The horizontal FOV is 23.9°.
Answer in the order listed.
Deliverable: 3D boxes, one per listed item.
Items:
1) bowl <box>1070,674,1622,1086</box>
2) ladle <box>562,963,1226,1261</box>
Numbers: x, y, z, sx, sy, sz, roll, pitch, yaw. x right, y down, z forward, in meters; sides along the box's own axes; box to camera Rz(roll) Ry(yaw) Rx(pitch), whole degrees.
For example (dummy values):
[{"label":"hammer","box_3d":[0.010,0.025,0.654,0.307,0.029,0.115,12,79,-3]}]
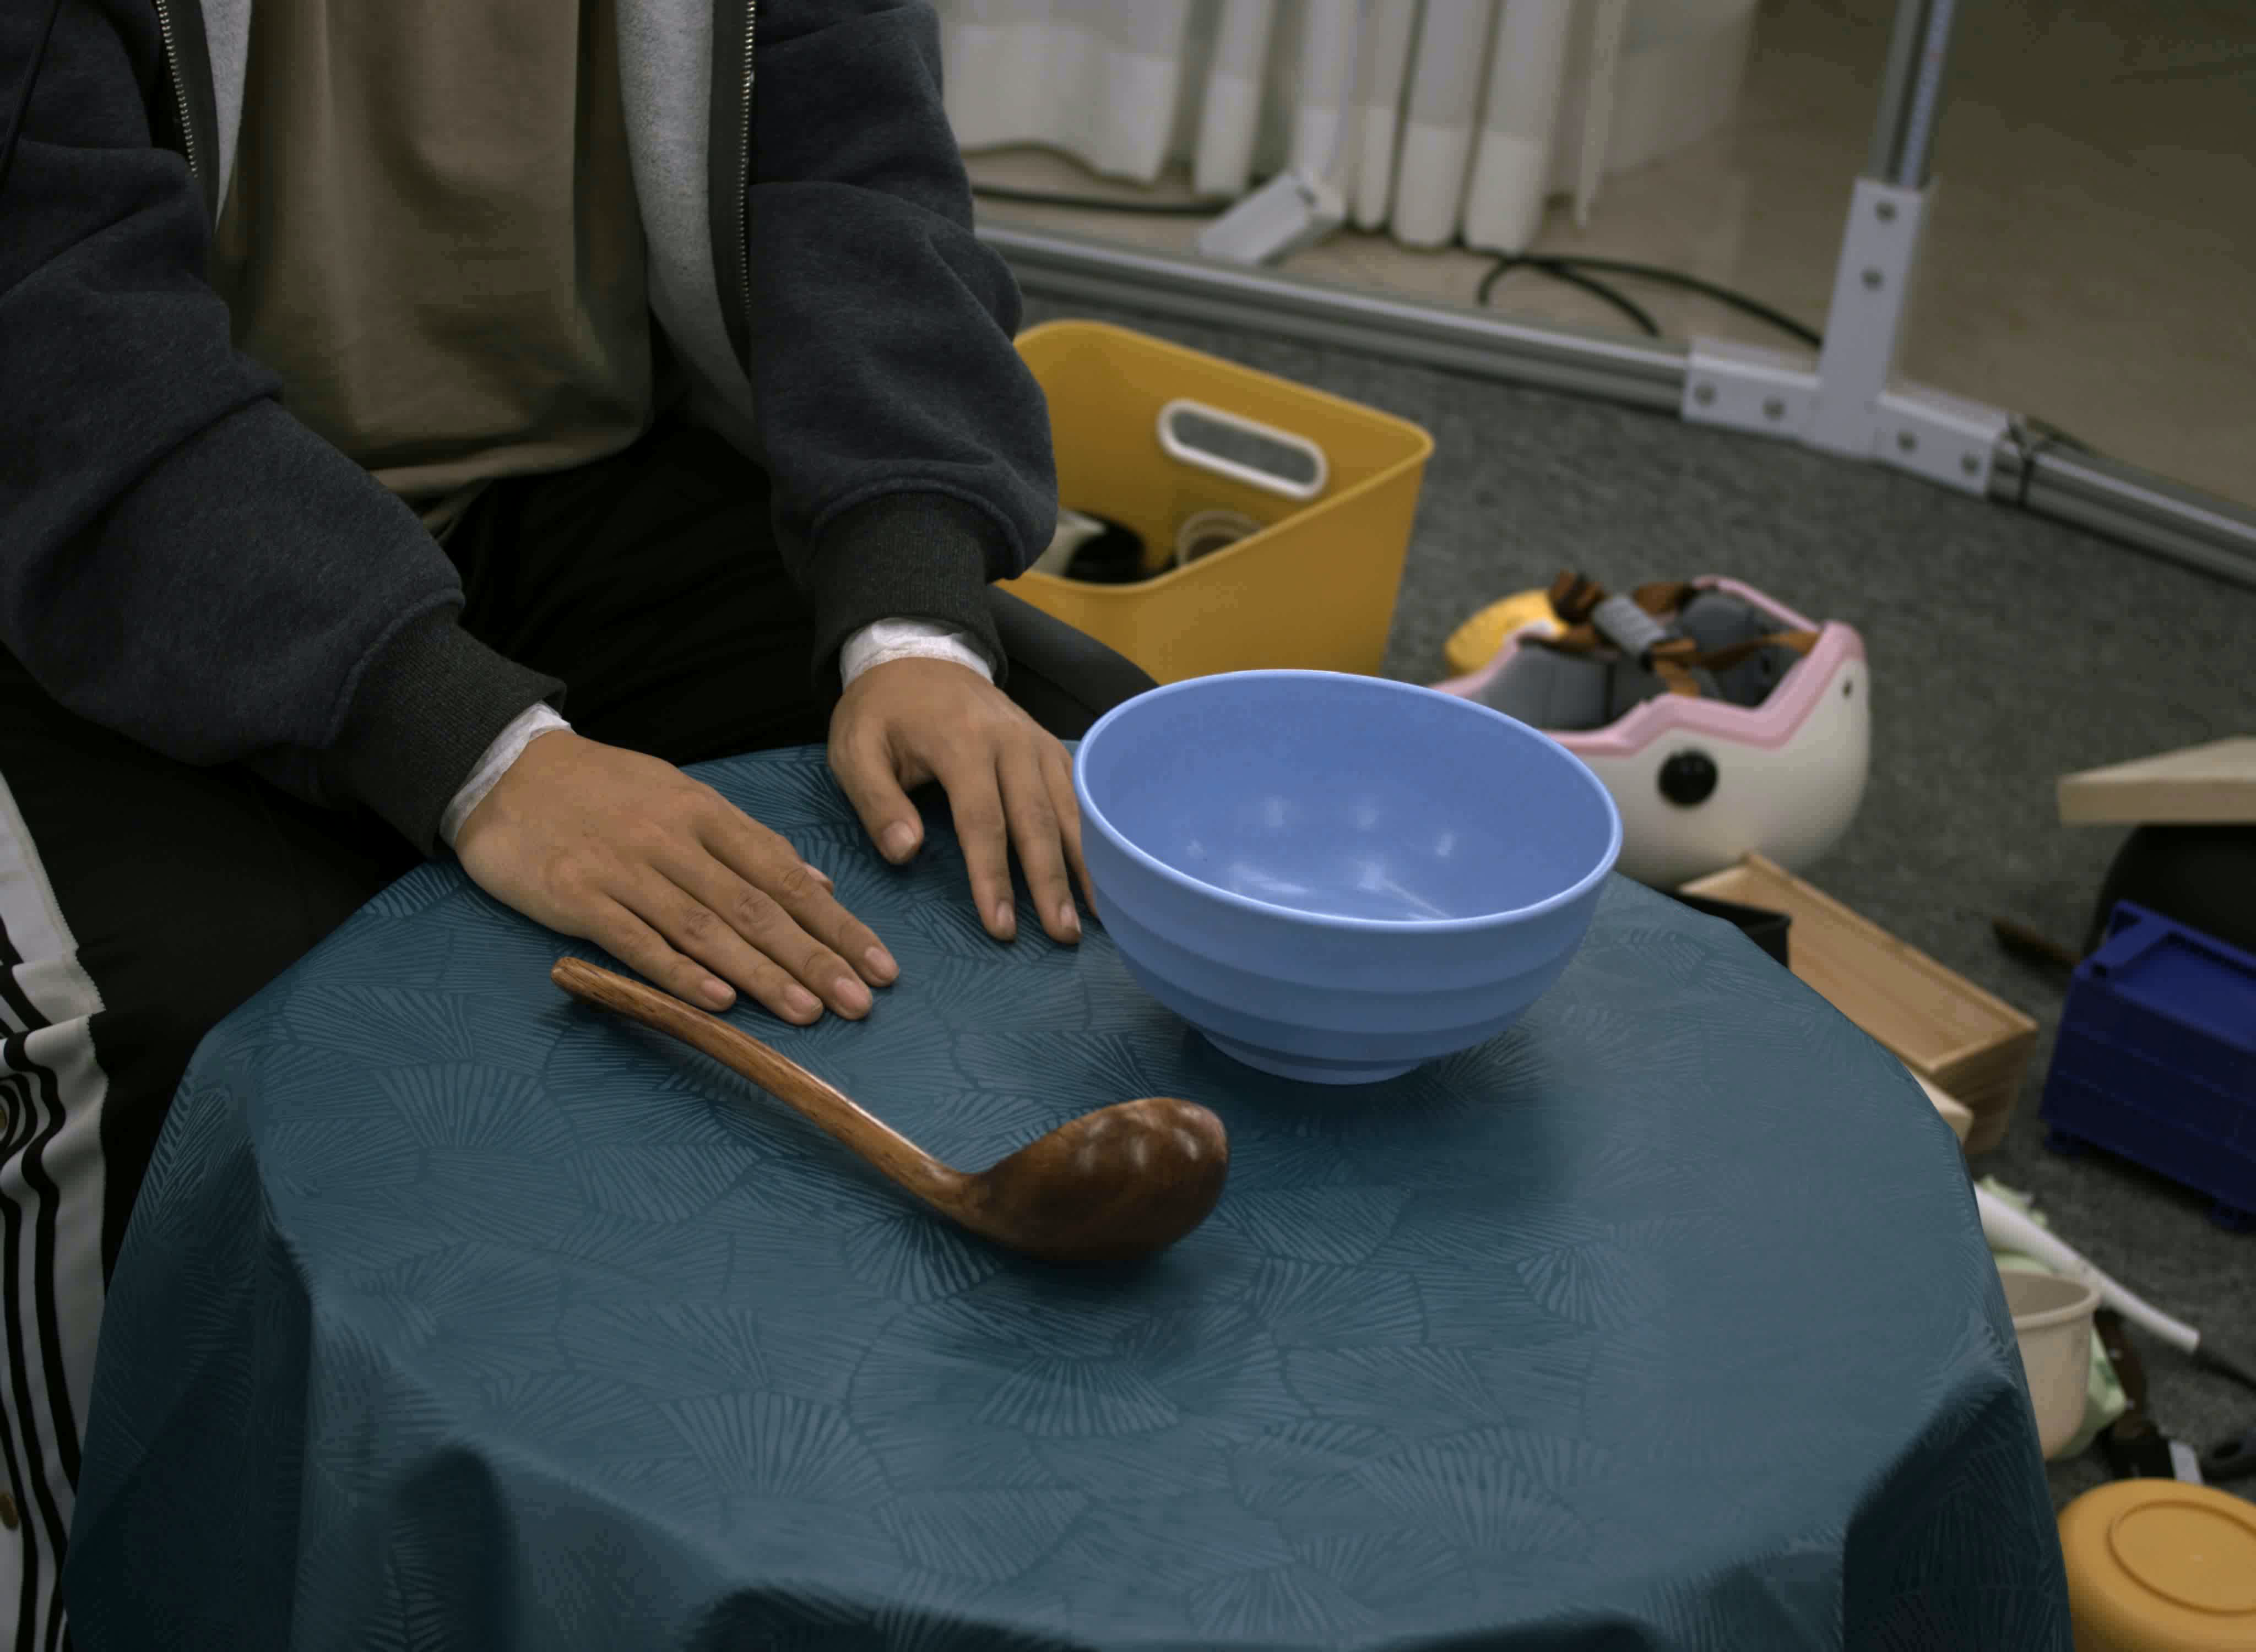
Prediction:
[{"label":"bowl","box_3d":[0.073,0.030,1.900,0.196,0.095,0.197,4,27,-2]},{"label":"ladle","box_3d":[-0.083,0.075,1.800,0.276,0.077,0.081,27,-6,37]}]
